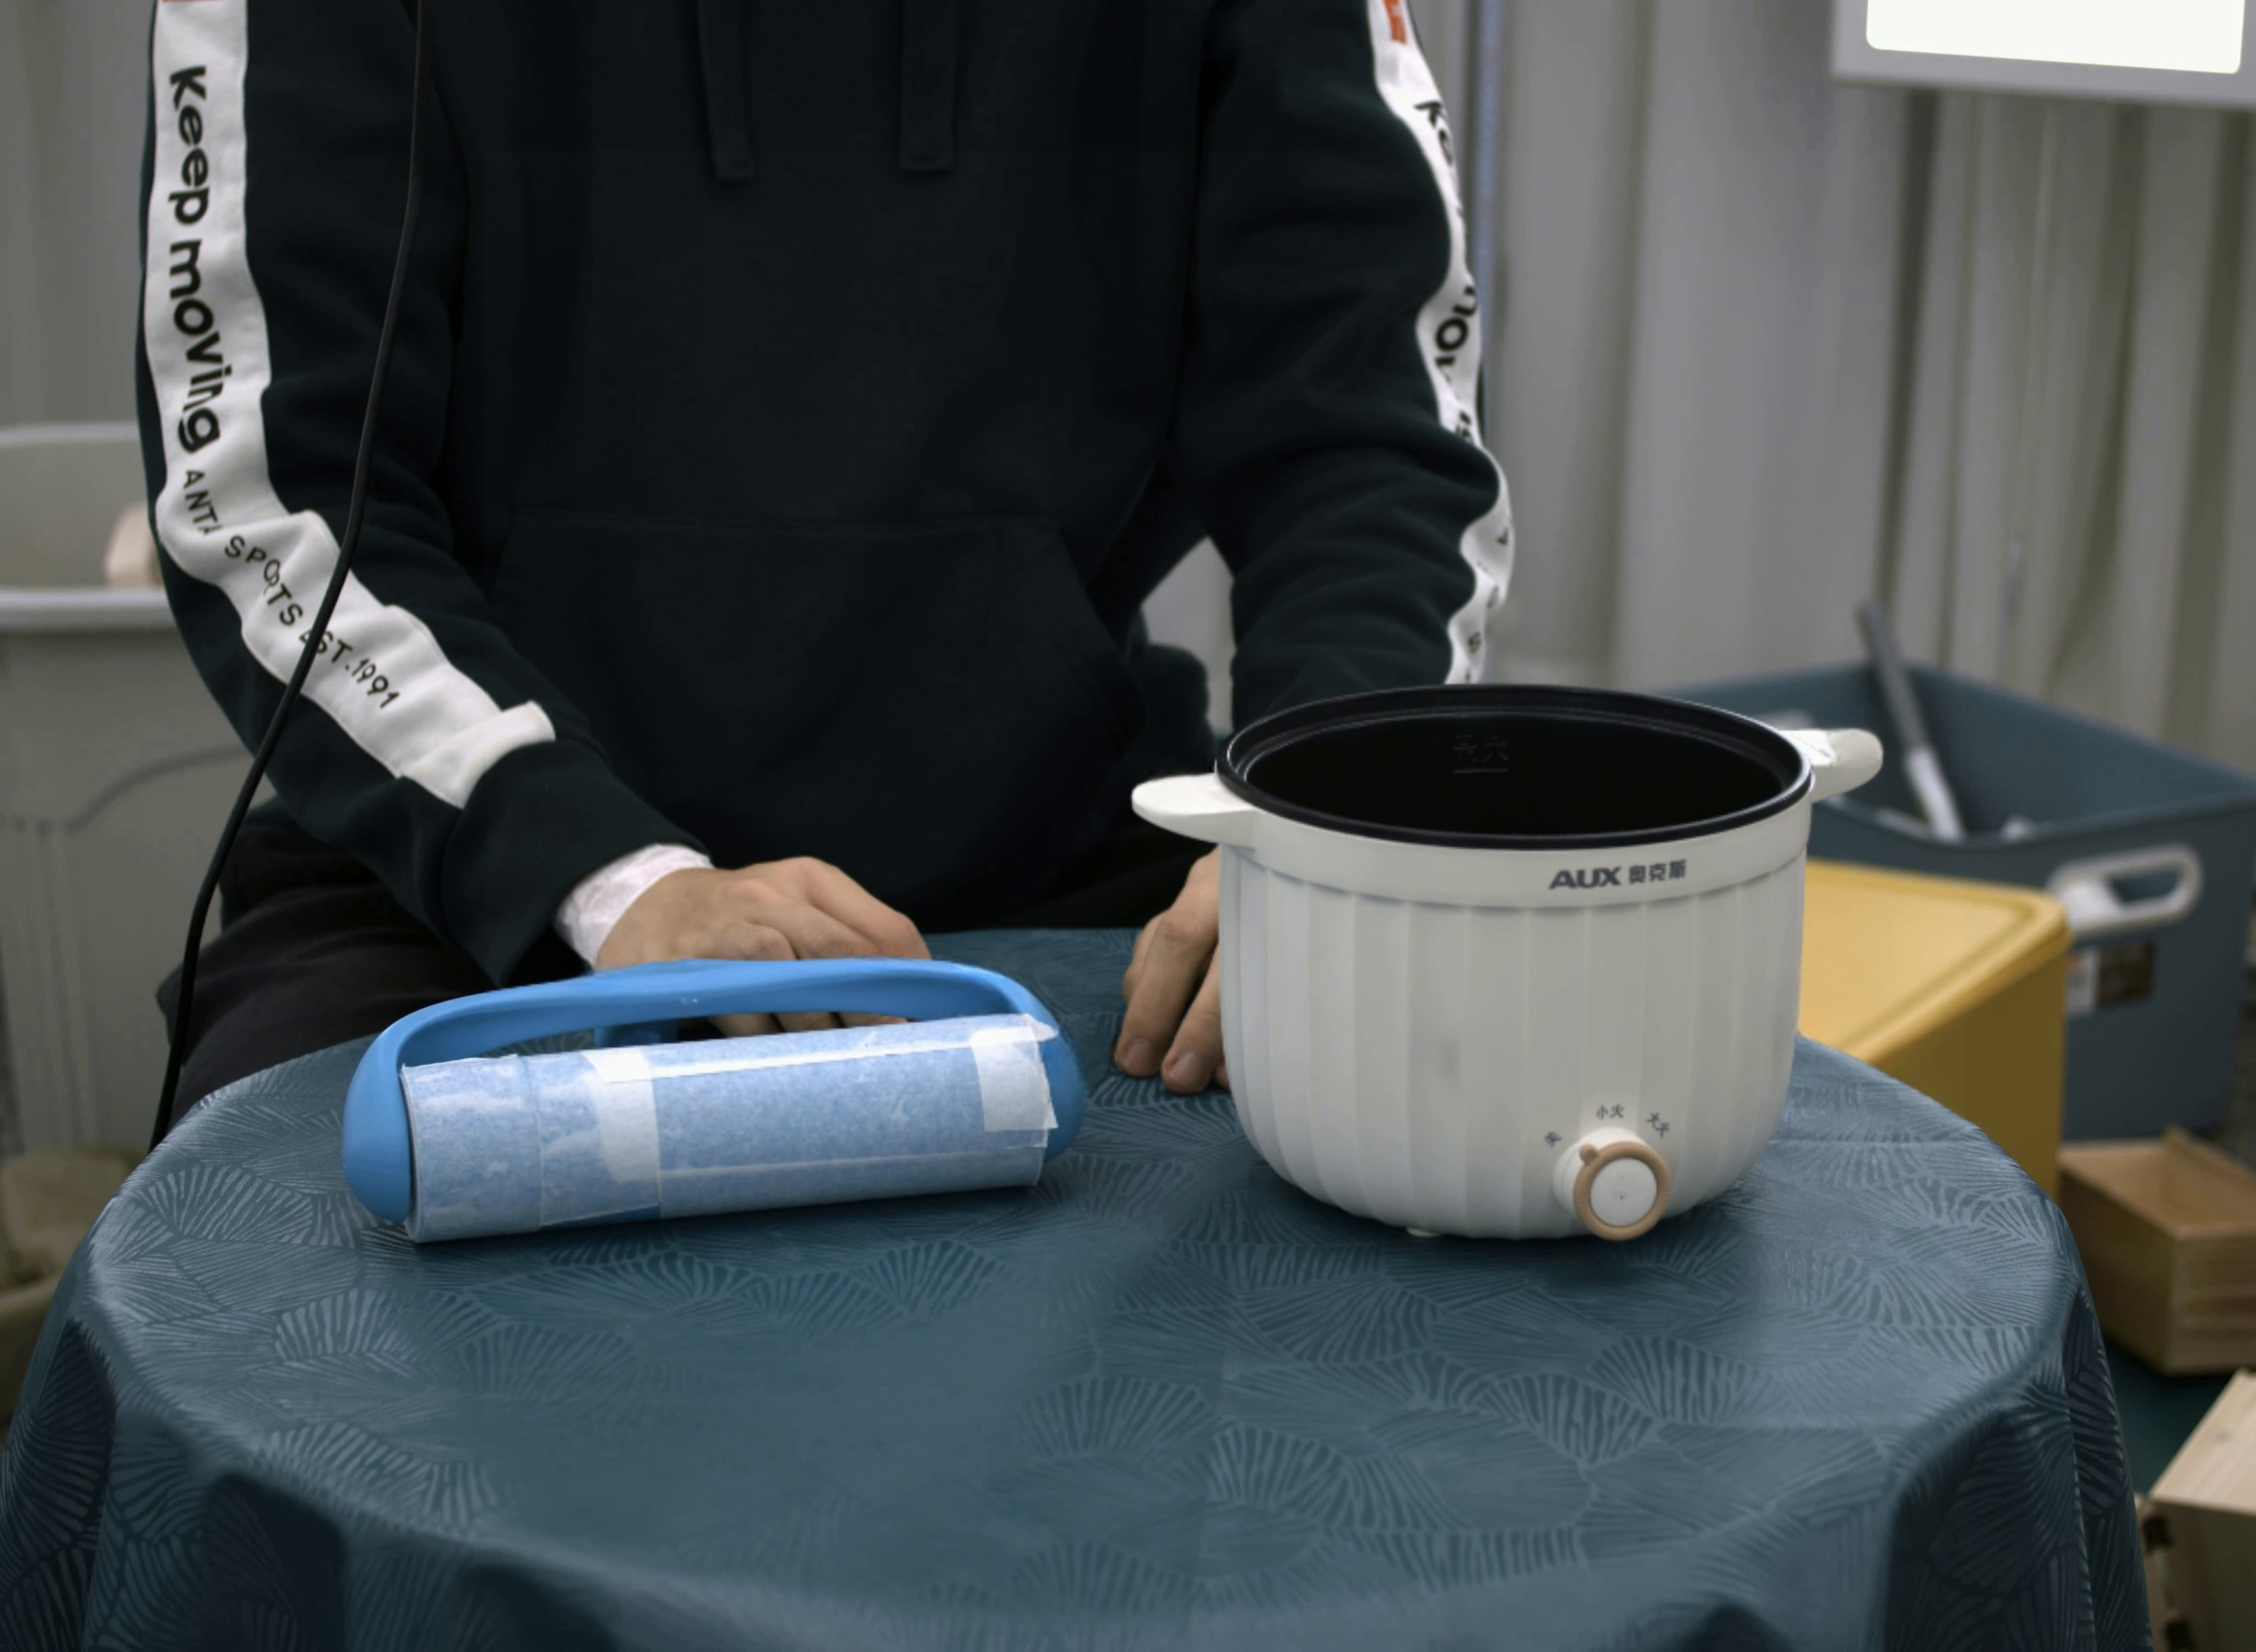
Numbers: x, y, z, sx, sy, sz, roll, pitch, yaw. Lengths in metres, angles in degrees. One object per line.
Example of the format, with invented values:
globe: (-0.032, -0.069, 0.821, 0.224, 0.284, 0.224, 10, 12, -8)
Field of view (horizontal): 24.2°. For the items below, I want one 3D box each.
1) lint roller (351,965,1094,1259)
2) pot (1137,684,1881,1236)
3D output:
lint roller: (-0.141, 0.076, 1.642, 0.229, 0.068, 0.178, -7, 18, -19)
pot: (0.120, 0.044, 1.610, 0.241, 0.144, 0.188, -6, 14, -17)
